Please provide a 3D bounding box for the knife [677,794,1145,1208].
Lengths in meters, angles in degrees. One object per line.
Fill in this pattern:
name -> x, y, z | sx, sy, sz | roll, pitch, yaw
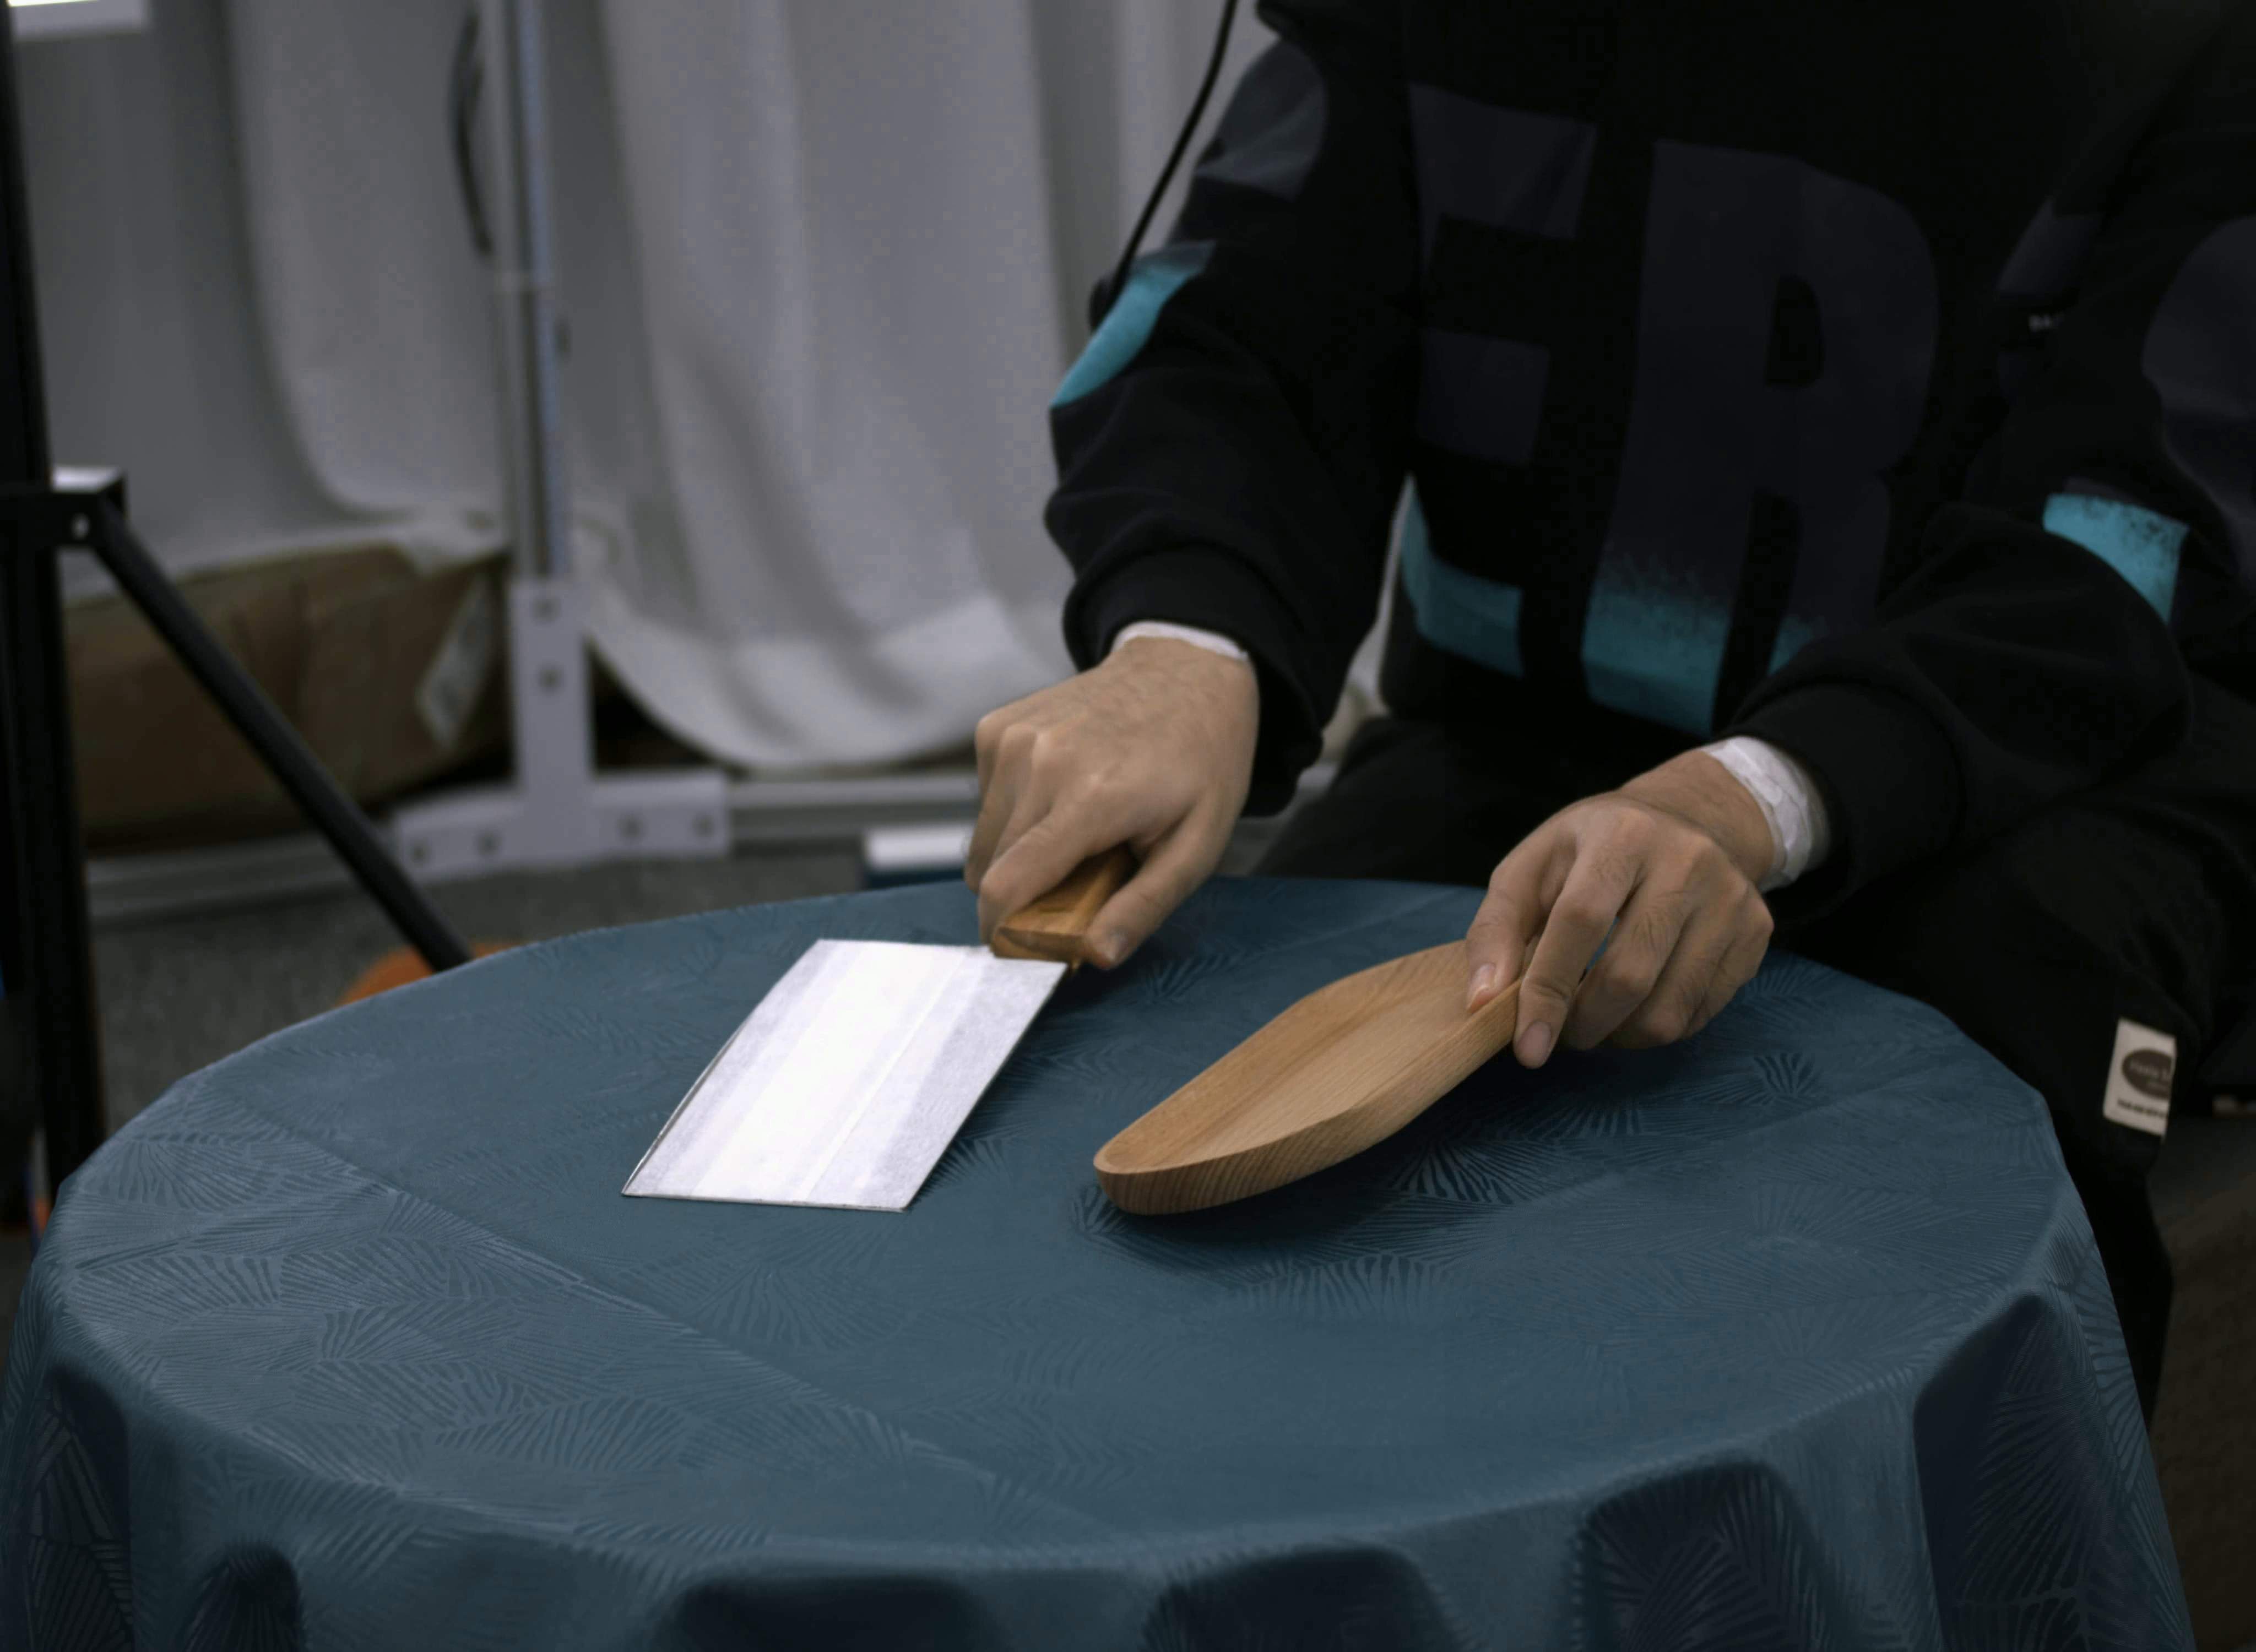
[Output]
knife -> -0.068, 0.053, 1.697 | 0.094, 0.021, 0.304 | 1, 23, 16

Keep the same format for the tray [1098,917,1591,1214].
tray -> 0.069, 0.071, 1.600 | 0.103, 0.020, 0.227 | -14, 8, 30
